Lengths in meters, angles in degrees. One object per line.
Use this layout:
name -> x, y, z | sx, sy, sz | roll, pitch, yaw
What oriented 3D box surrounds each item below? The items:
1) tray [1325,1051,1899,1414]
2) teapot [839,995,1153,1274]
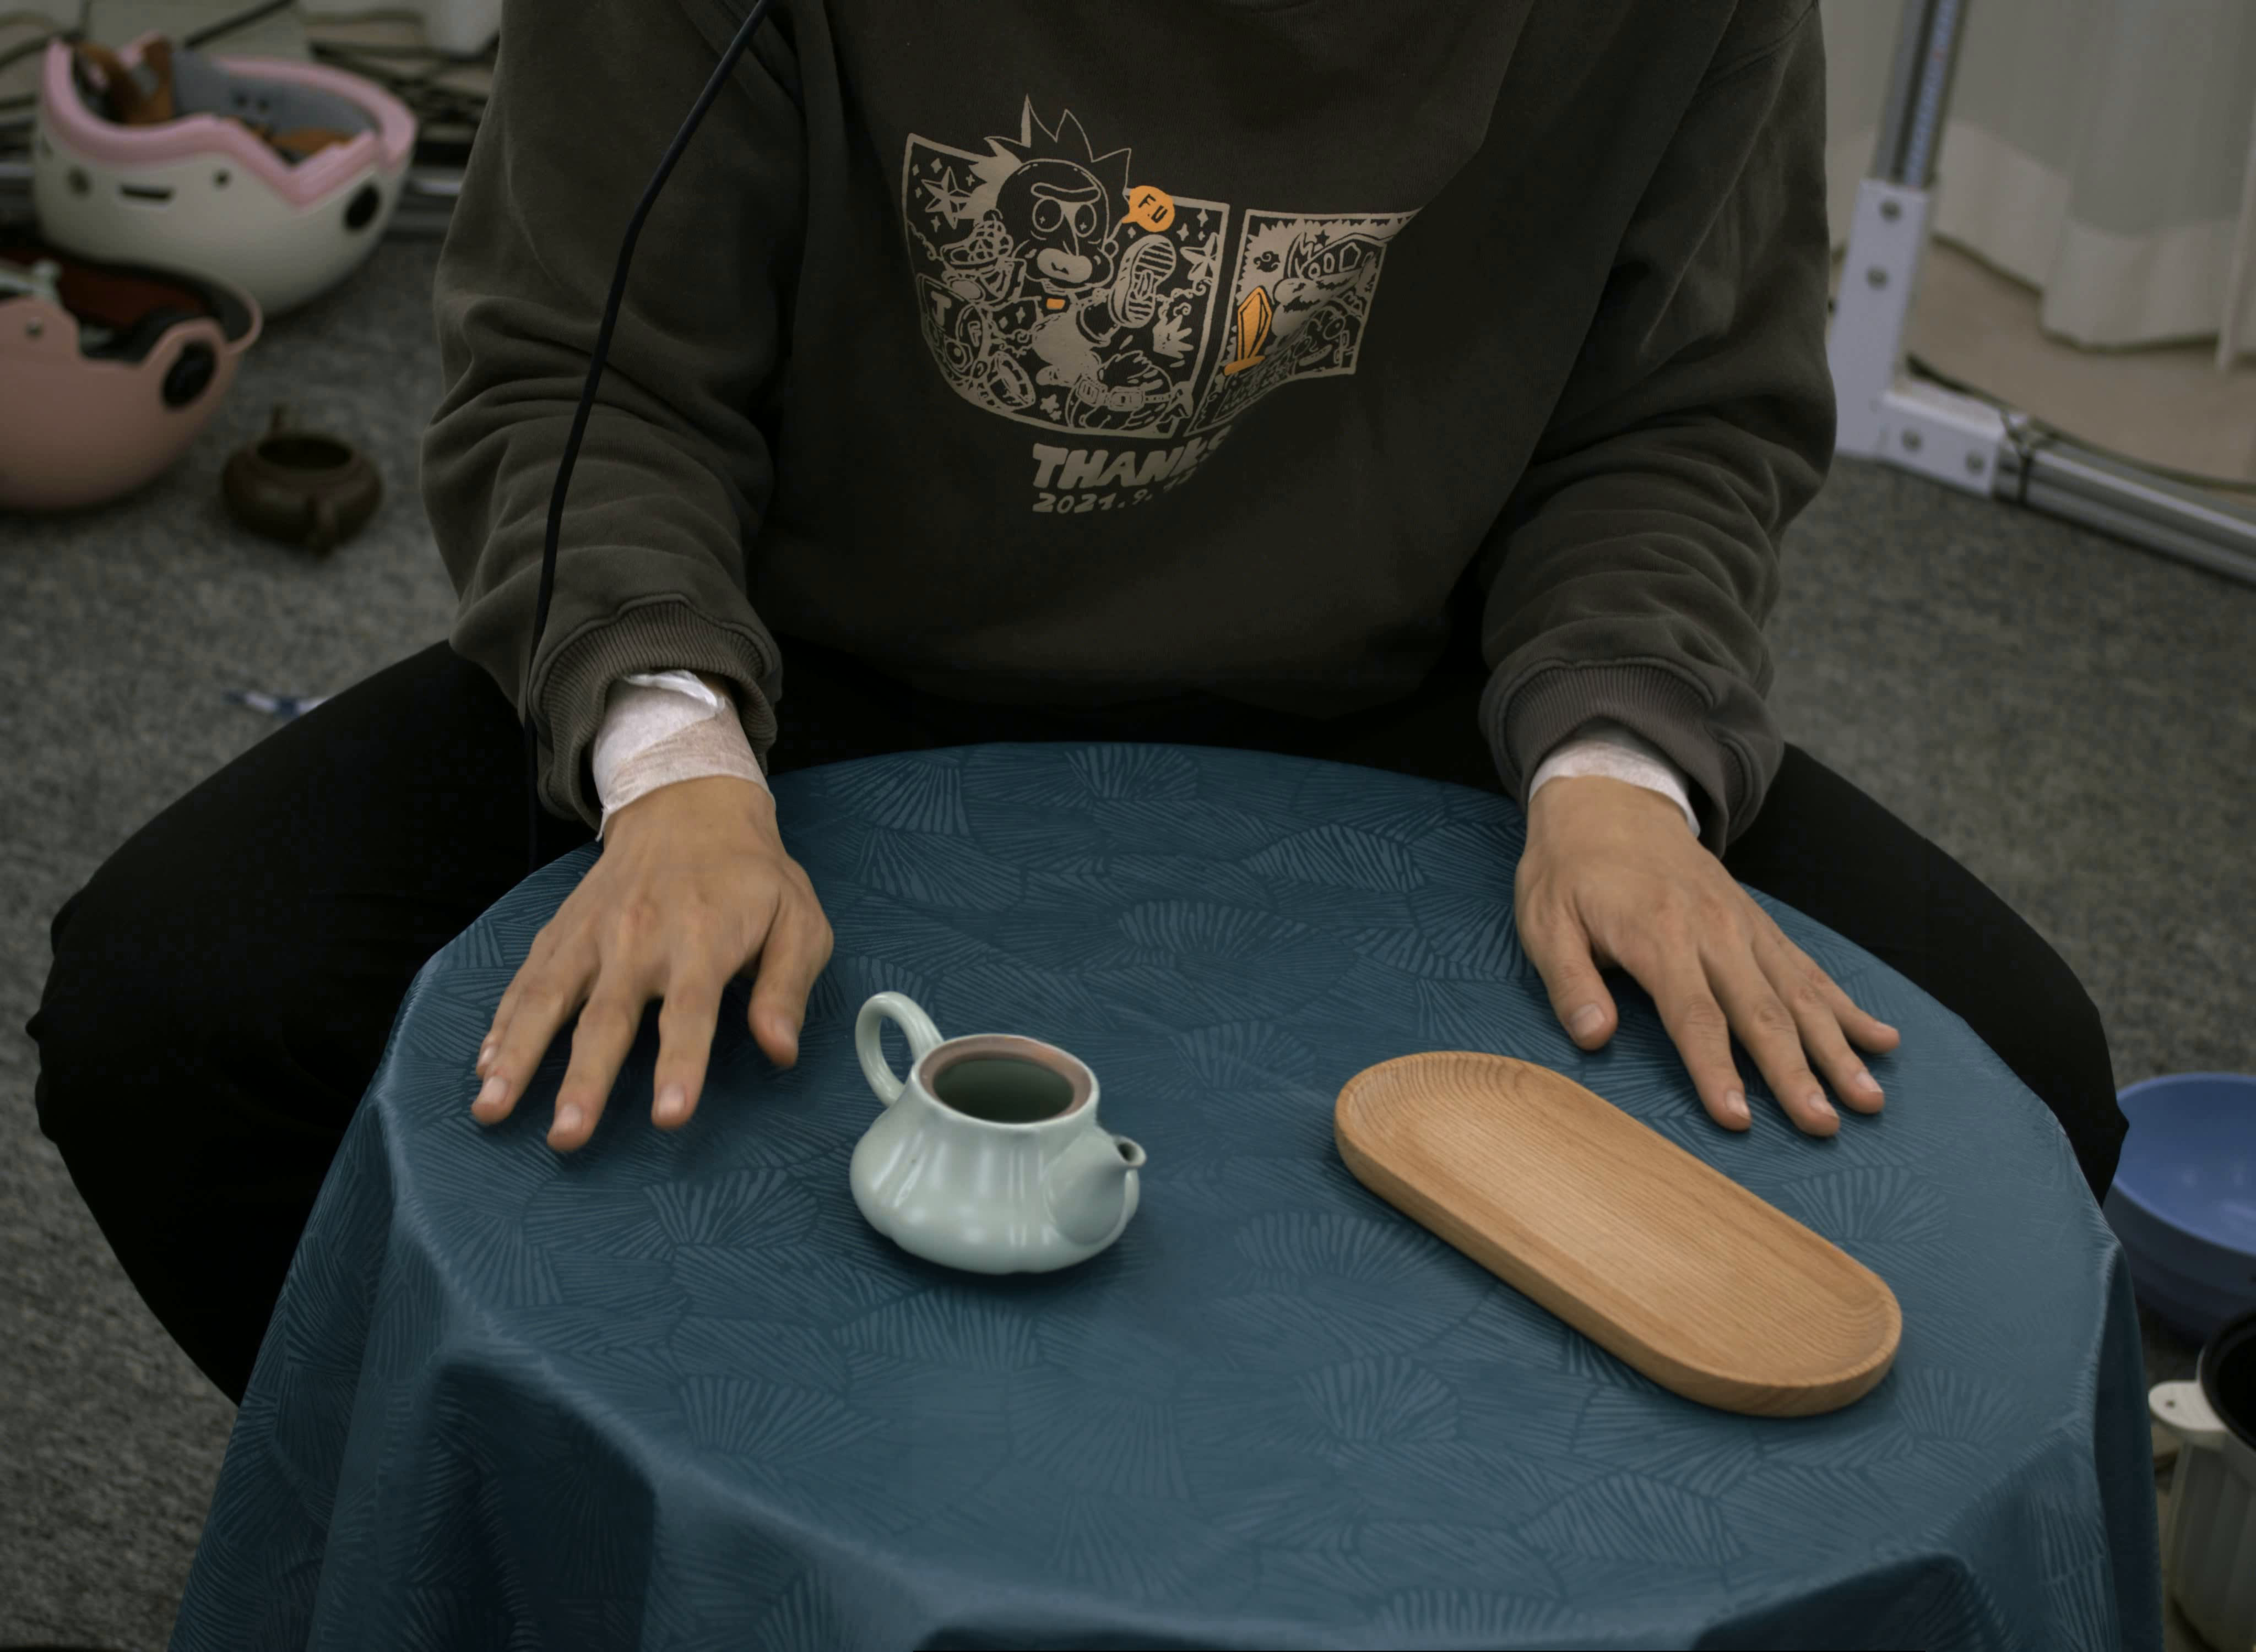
tray -> 0.161, 0.135, 1.798 | 0.101, 0.020, 0.233 | -16, 33, -38
teapot -> -0.047, 0.105, 1.764 | 0.138, 0.061, 0.096 | 28, 35, 36
